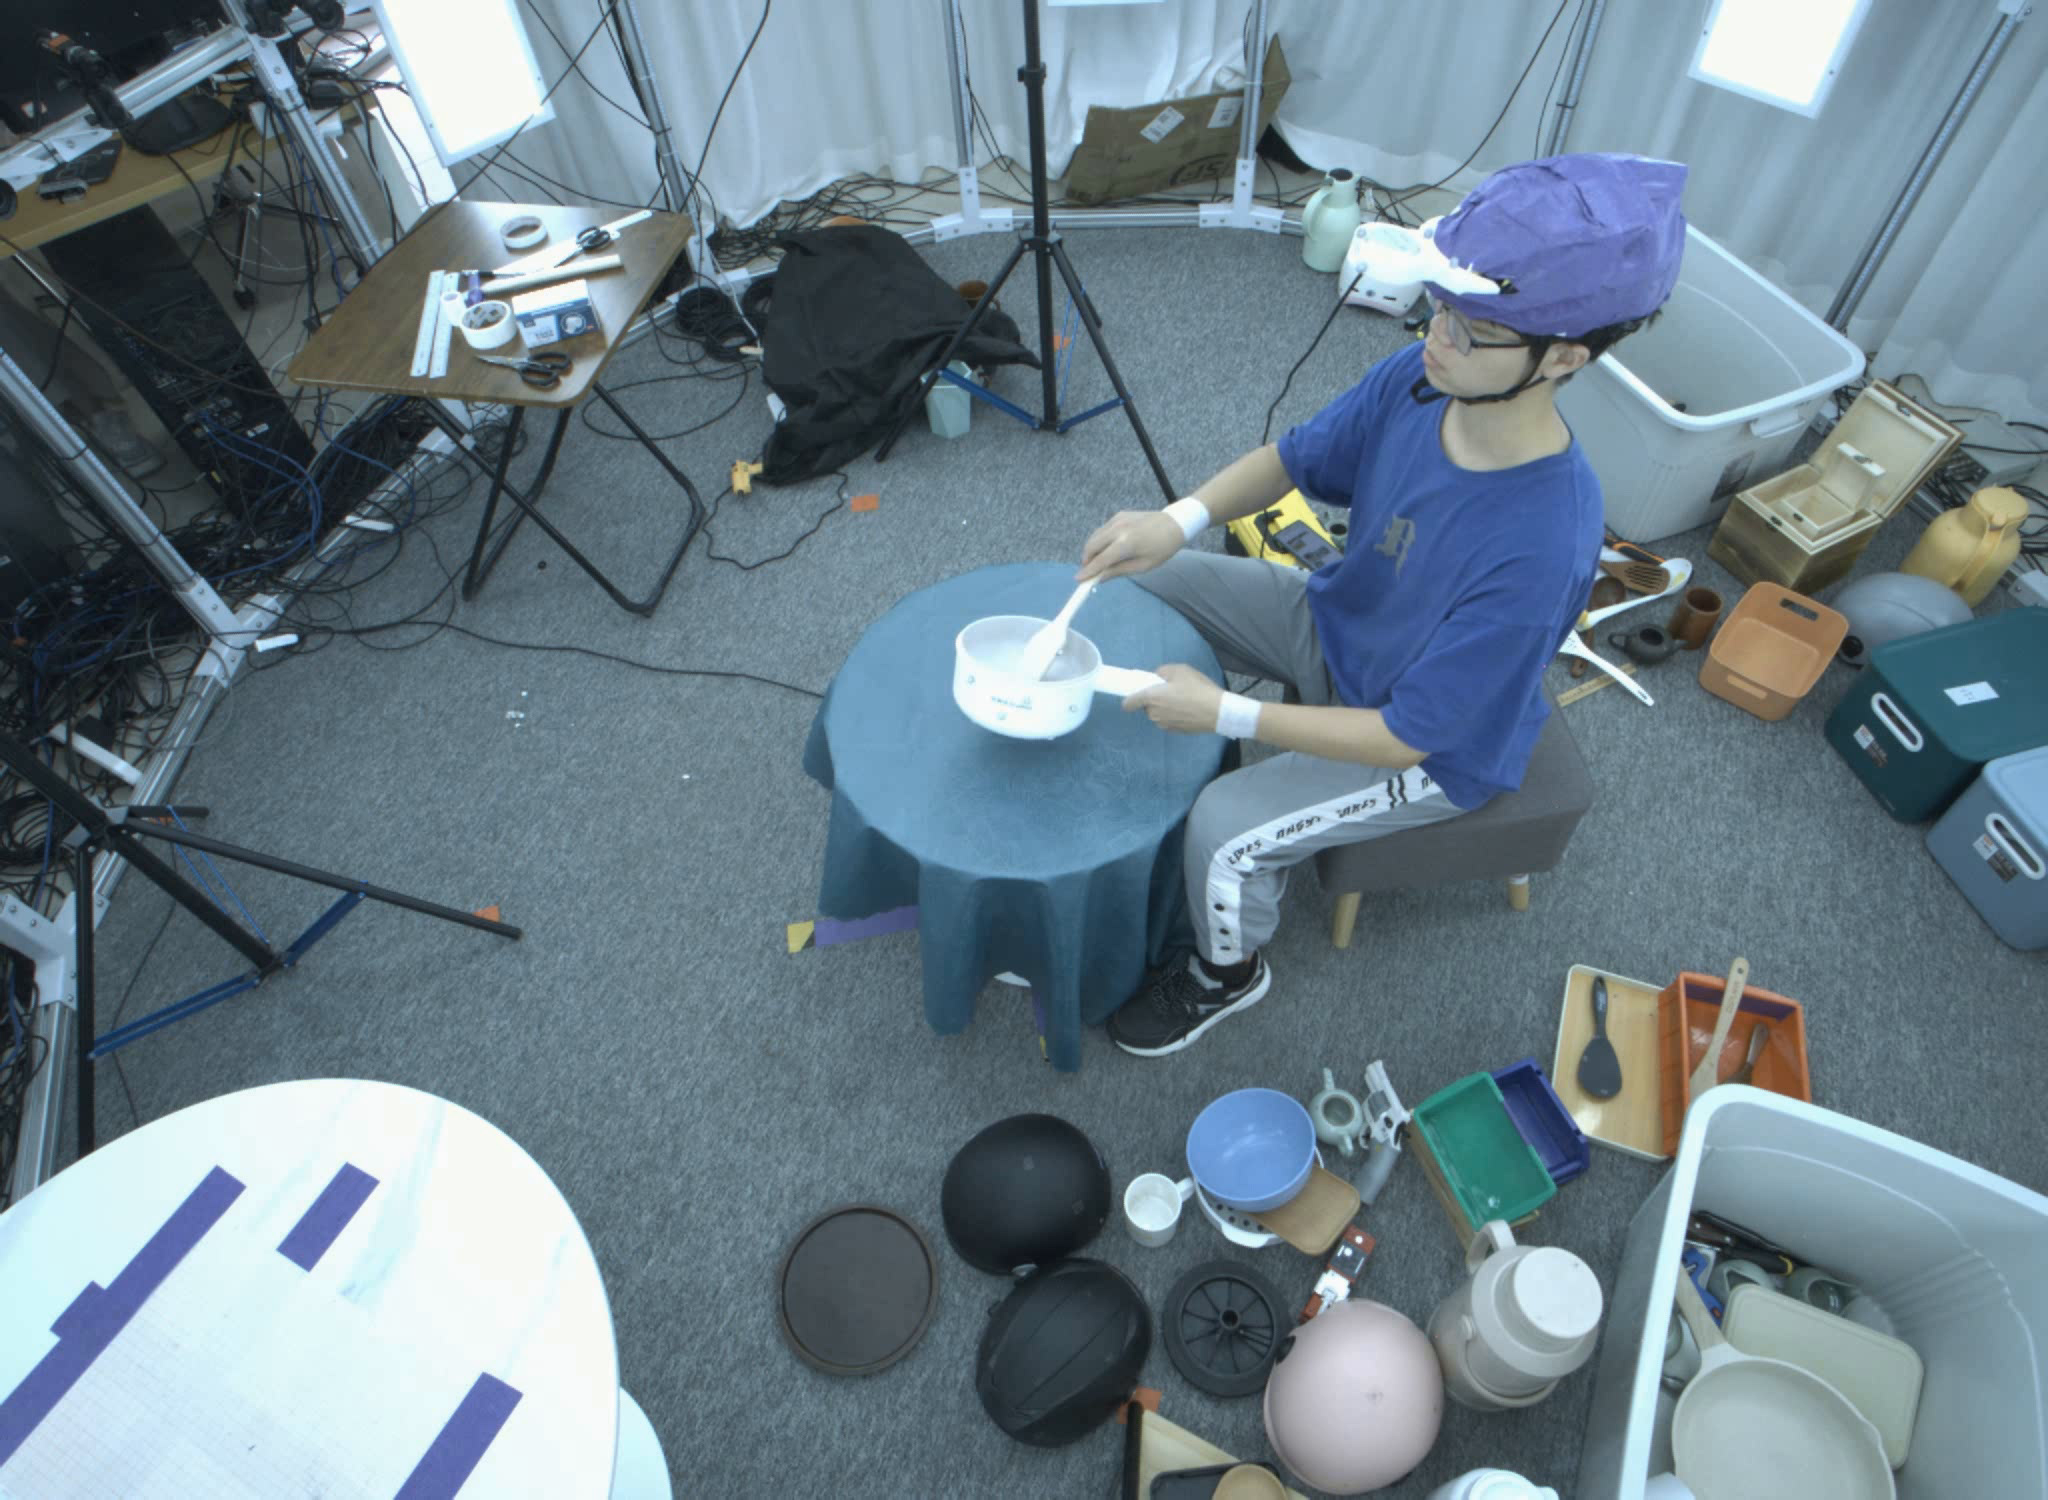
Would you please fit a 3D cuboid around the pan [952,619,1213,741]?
[{"bbox_3d":[0.075,-0.077,1.688,0.354,0.102,0.200,12,30,2],"label":"pan"}]

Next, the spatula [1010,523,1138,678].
[{"bbox_3d":[0.075,-0.208,1.709,0.070,0.011,0.293,14,64,52],"label":"spatula"}]
